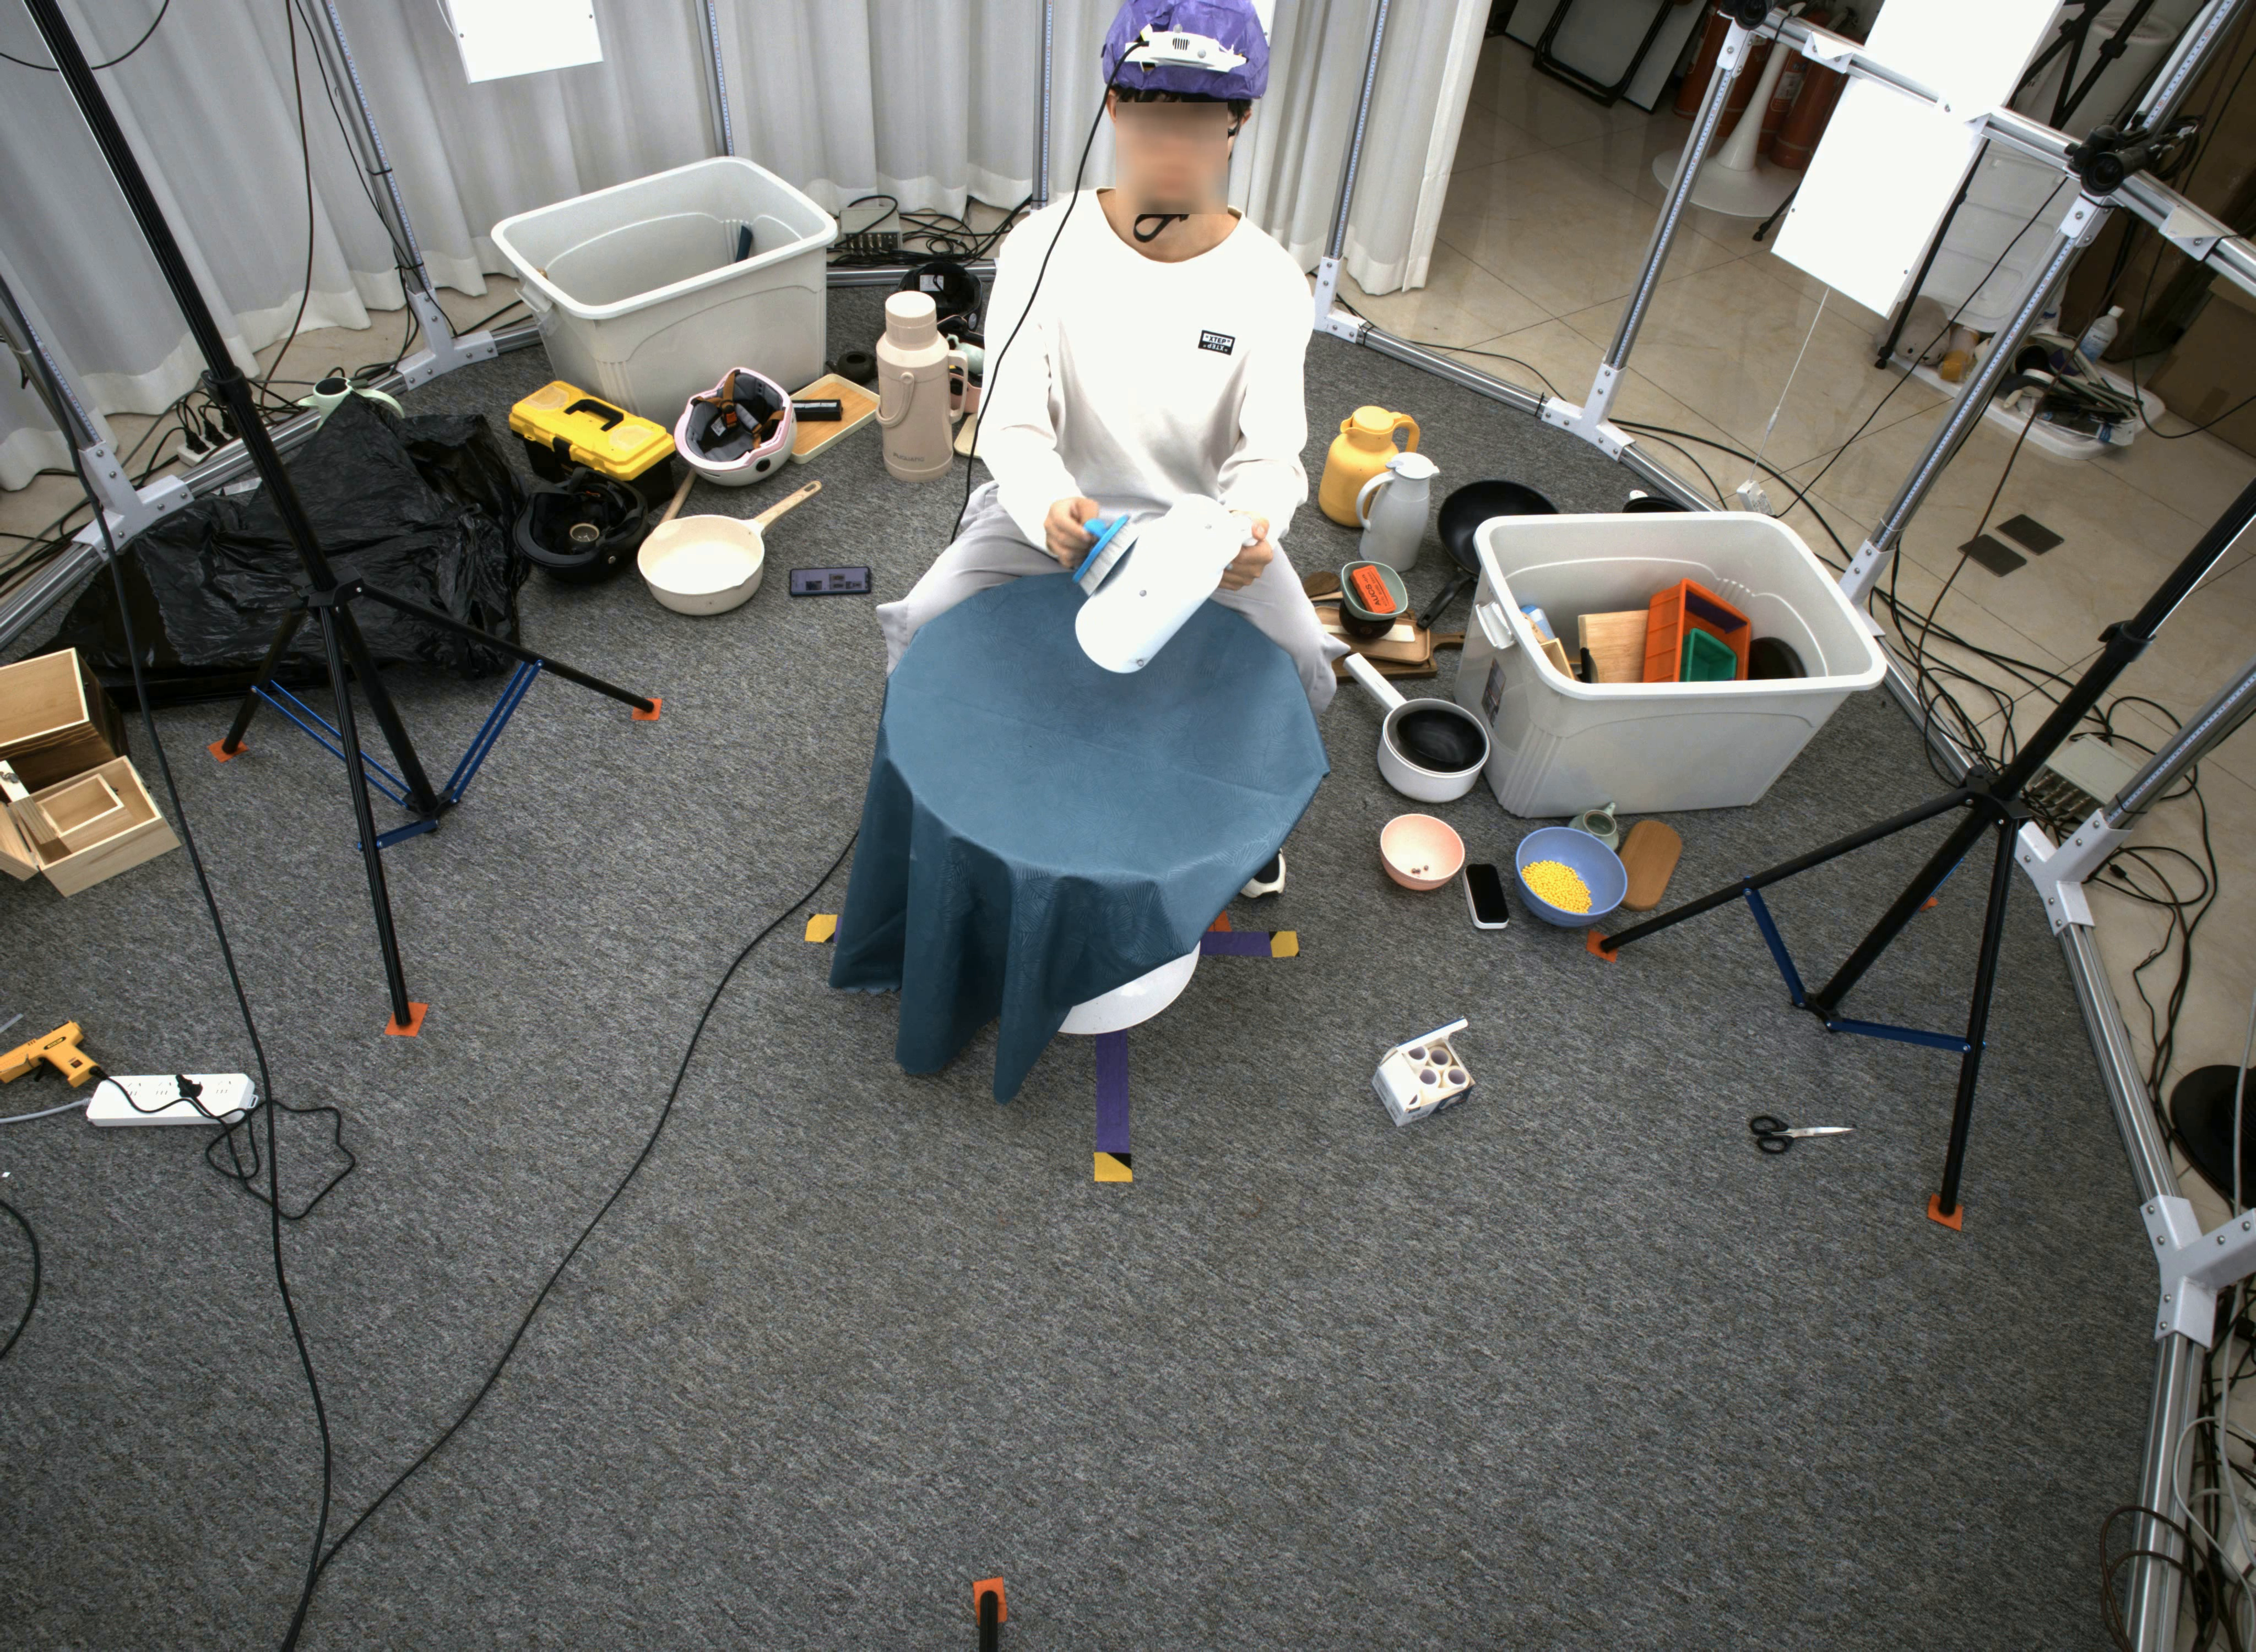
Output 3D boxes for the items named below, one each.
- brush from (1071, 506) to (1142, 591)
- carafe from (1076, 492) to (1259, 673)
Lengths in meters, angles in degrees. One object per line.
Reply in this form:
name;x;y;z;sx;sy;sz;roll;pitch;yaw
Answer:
brush;-0.037;-0.362;1.653;0.063;0.140;0.085;36;69;-6
carafe;0.050;-0.316;1.671;0.173;0.265;0.125;-19;74;-35
